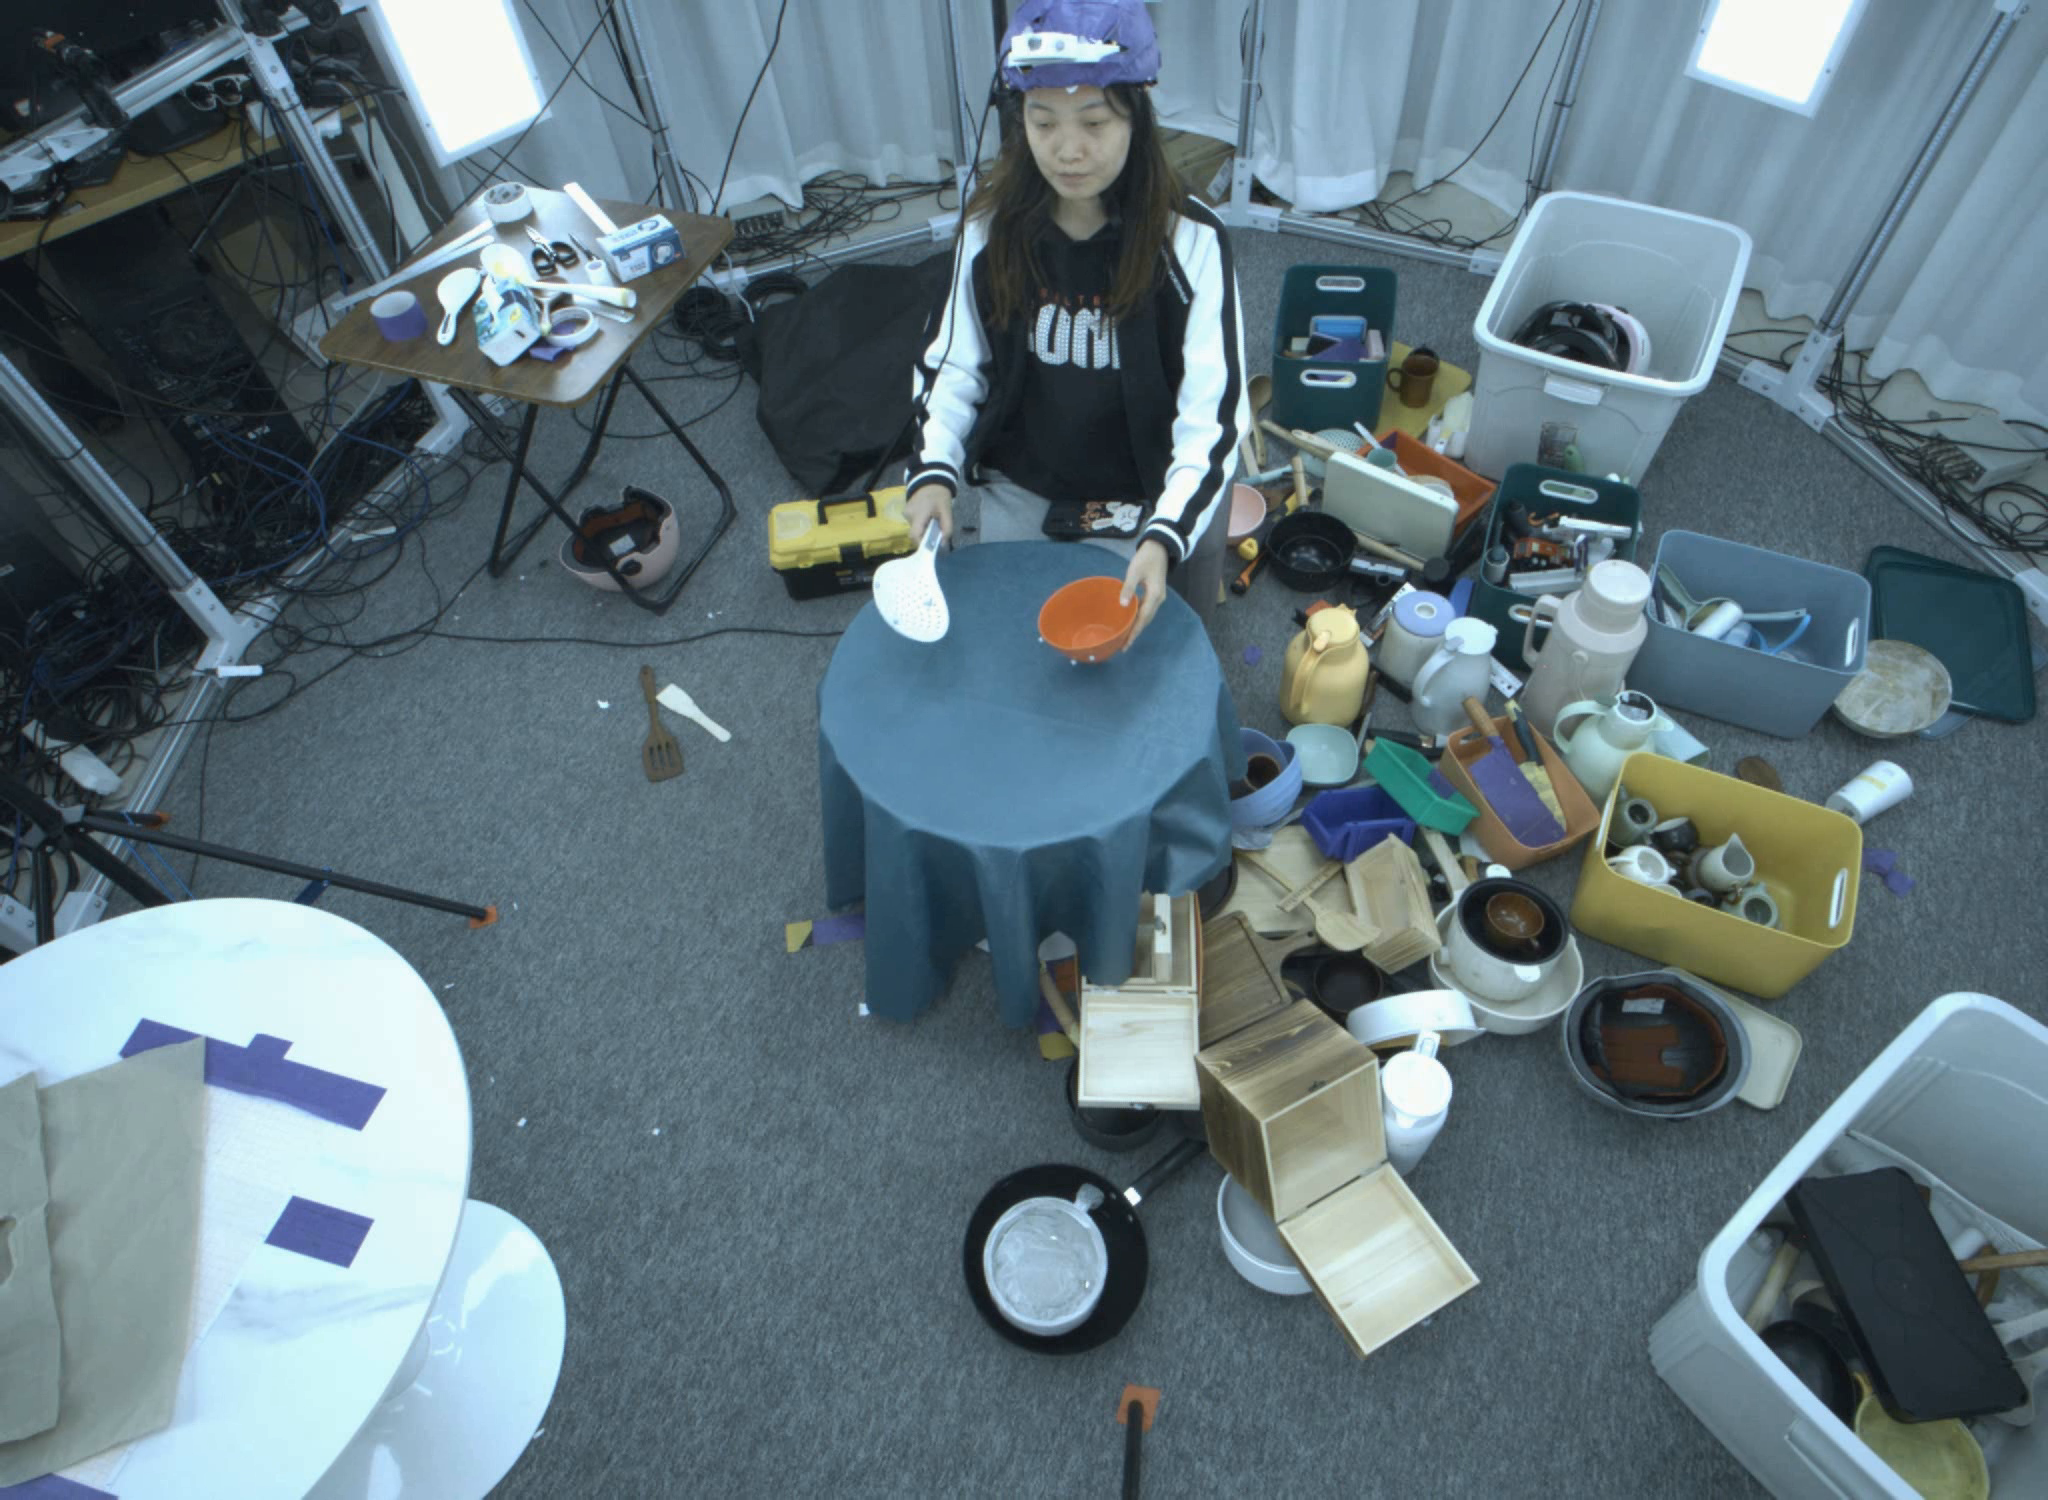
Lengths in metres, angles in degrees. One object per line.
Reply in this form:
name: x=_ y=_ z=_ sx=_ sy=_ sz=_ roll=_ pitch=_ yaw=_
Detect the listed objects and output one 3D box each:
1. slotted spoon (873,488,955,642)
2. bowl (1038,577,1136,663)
slotted spoon: x=-0.155 y=-0.294 z=1.874 sx=0.138 sy=0.045 sz=0.348 roll=37 pitch=47 yaw=-26
bowl: x=0.099 y=-0.176 z=1.802 sx=0.147 sy=0.106 sz=0.146 roll=-7 pitch=58 yaw=12
